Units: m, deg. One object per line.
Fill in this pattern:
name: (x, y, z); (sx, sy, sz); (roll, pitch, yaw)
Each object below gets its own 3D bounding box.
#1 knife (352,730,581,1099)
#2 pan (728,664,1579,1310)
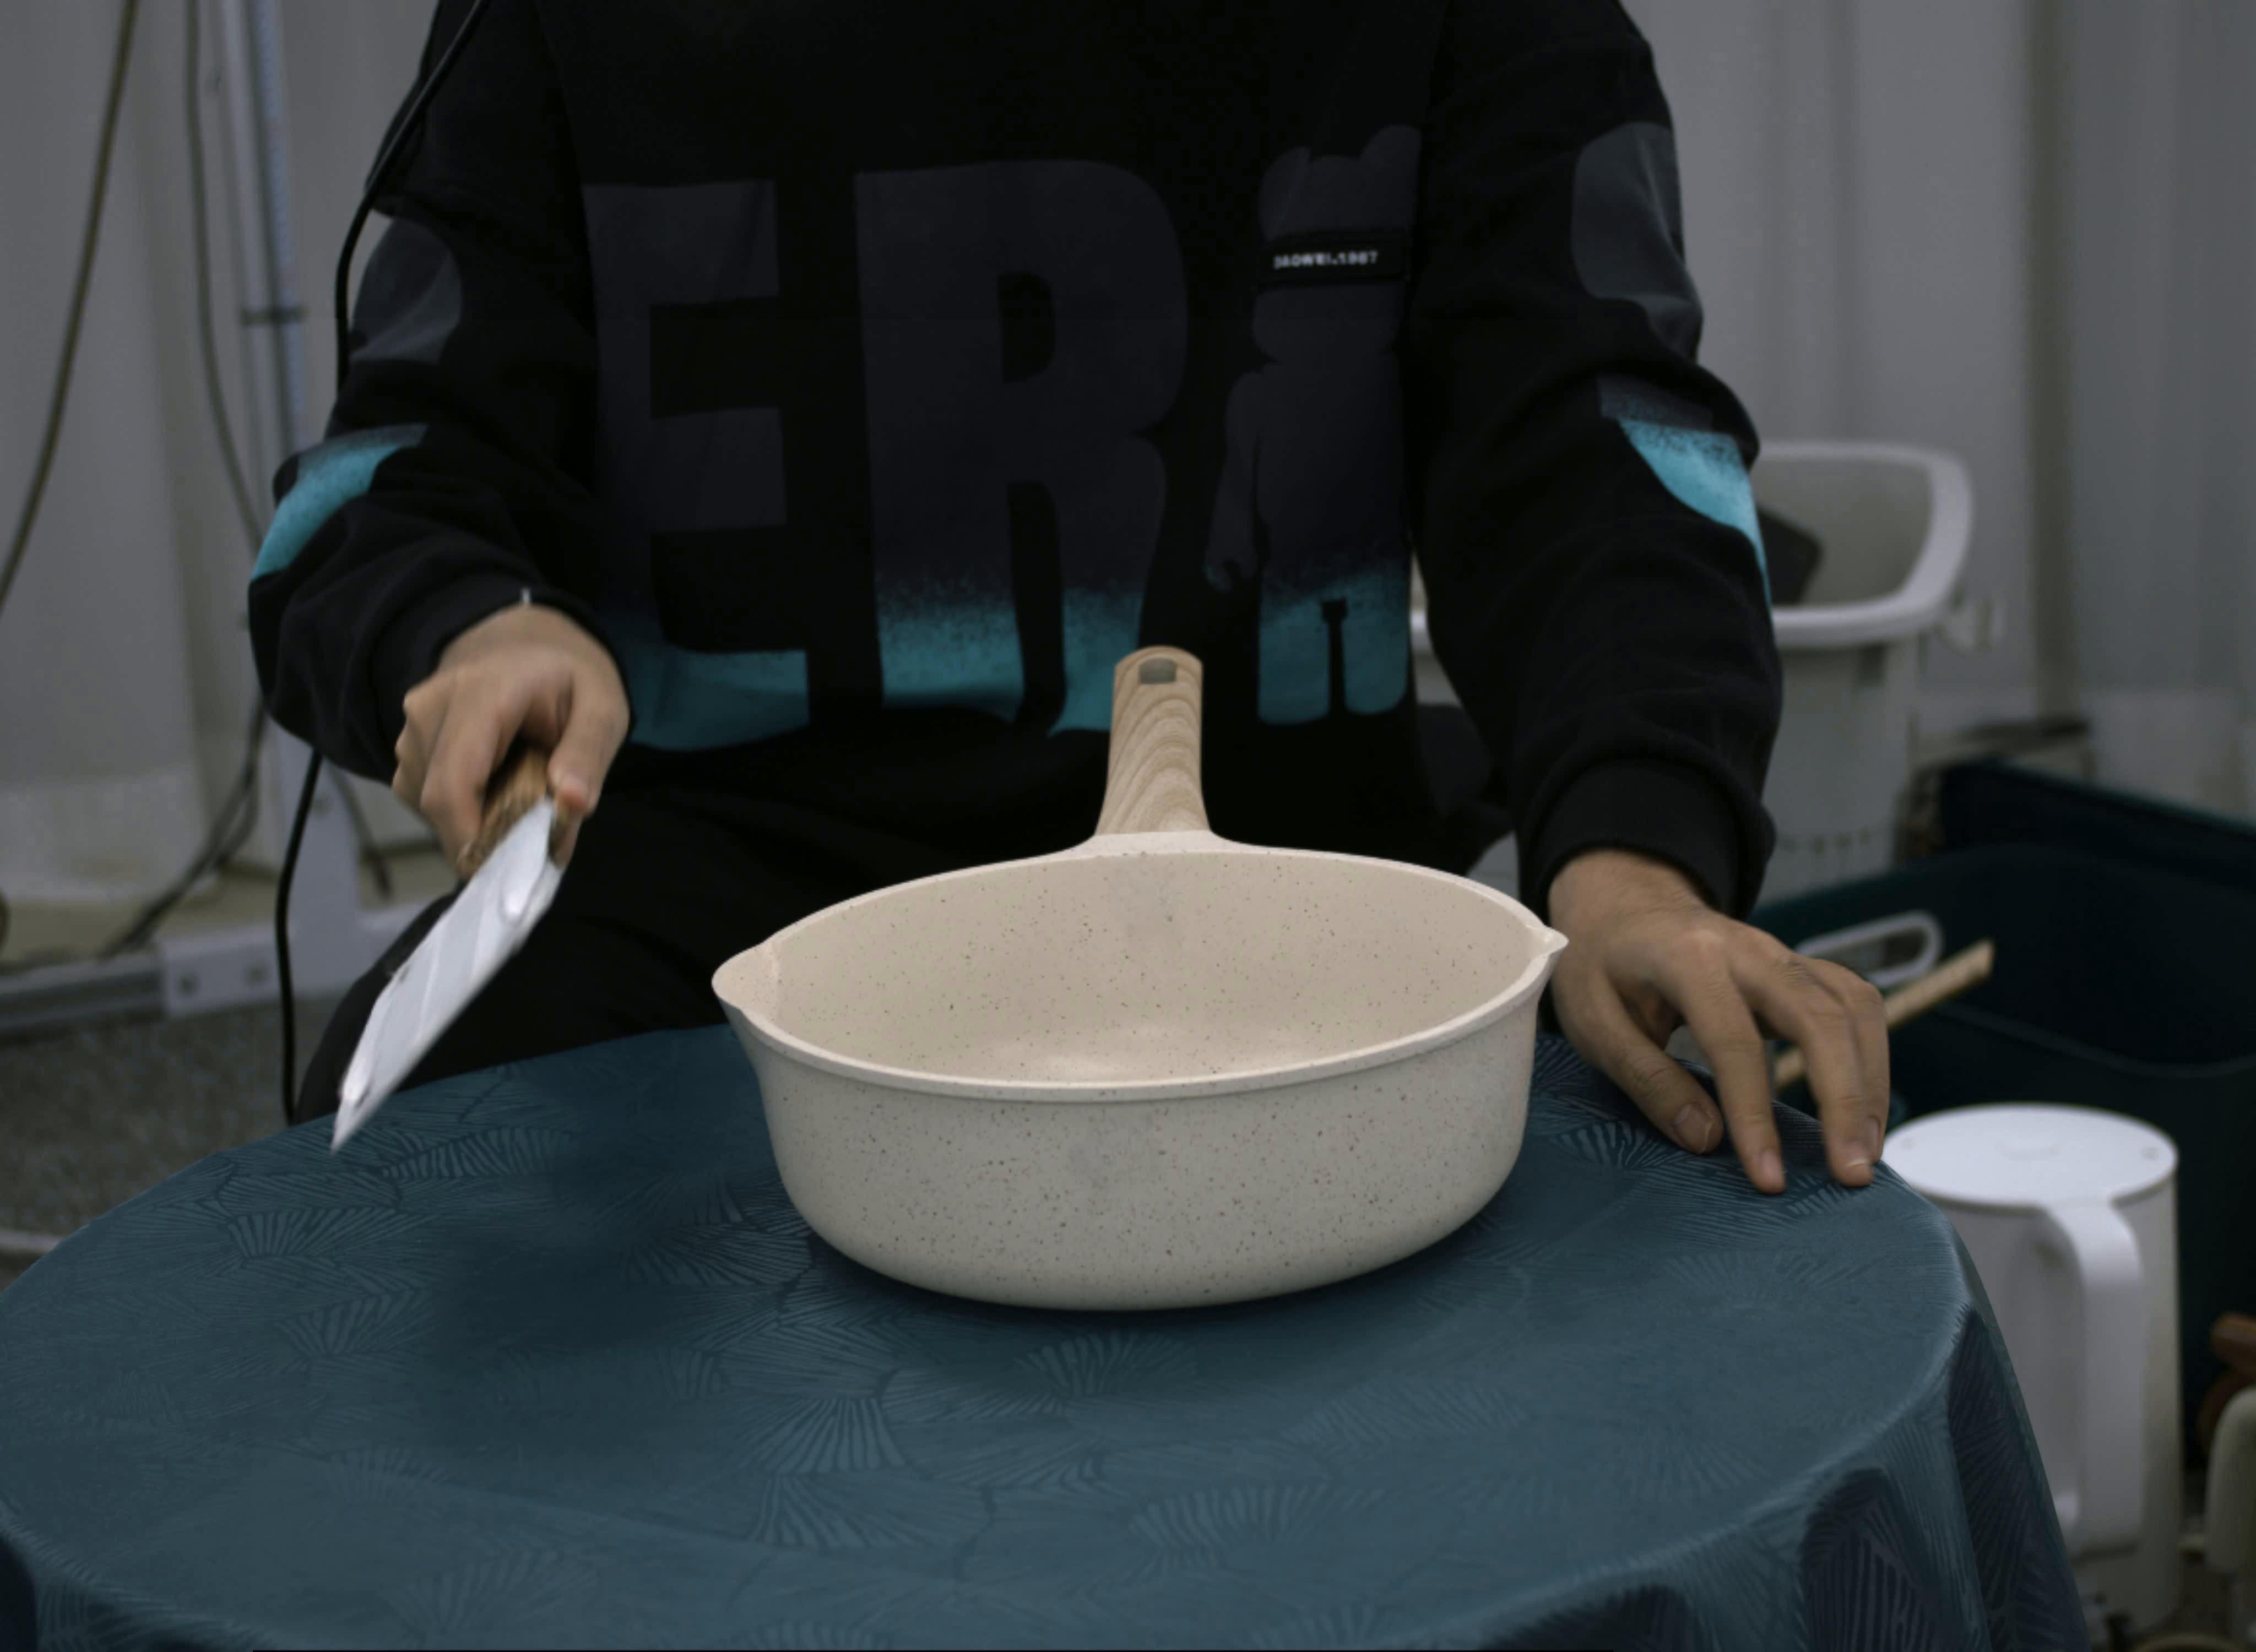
knife: (-0.199, 0.016, 1.705); (0.021, 0.114, 0.317); (40, 9, -10)
pan: (0.011, 0.047, 1.774); (0.262, 0.101, 0.438); (-5, 15, 2)
